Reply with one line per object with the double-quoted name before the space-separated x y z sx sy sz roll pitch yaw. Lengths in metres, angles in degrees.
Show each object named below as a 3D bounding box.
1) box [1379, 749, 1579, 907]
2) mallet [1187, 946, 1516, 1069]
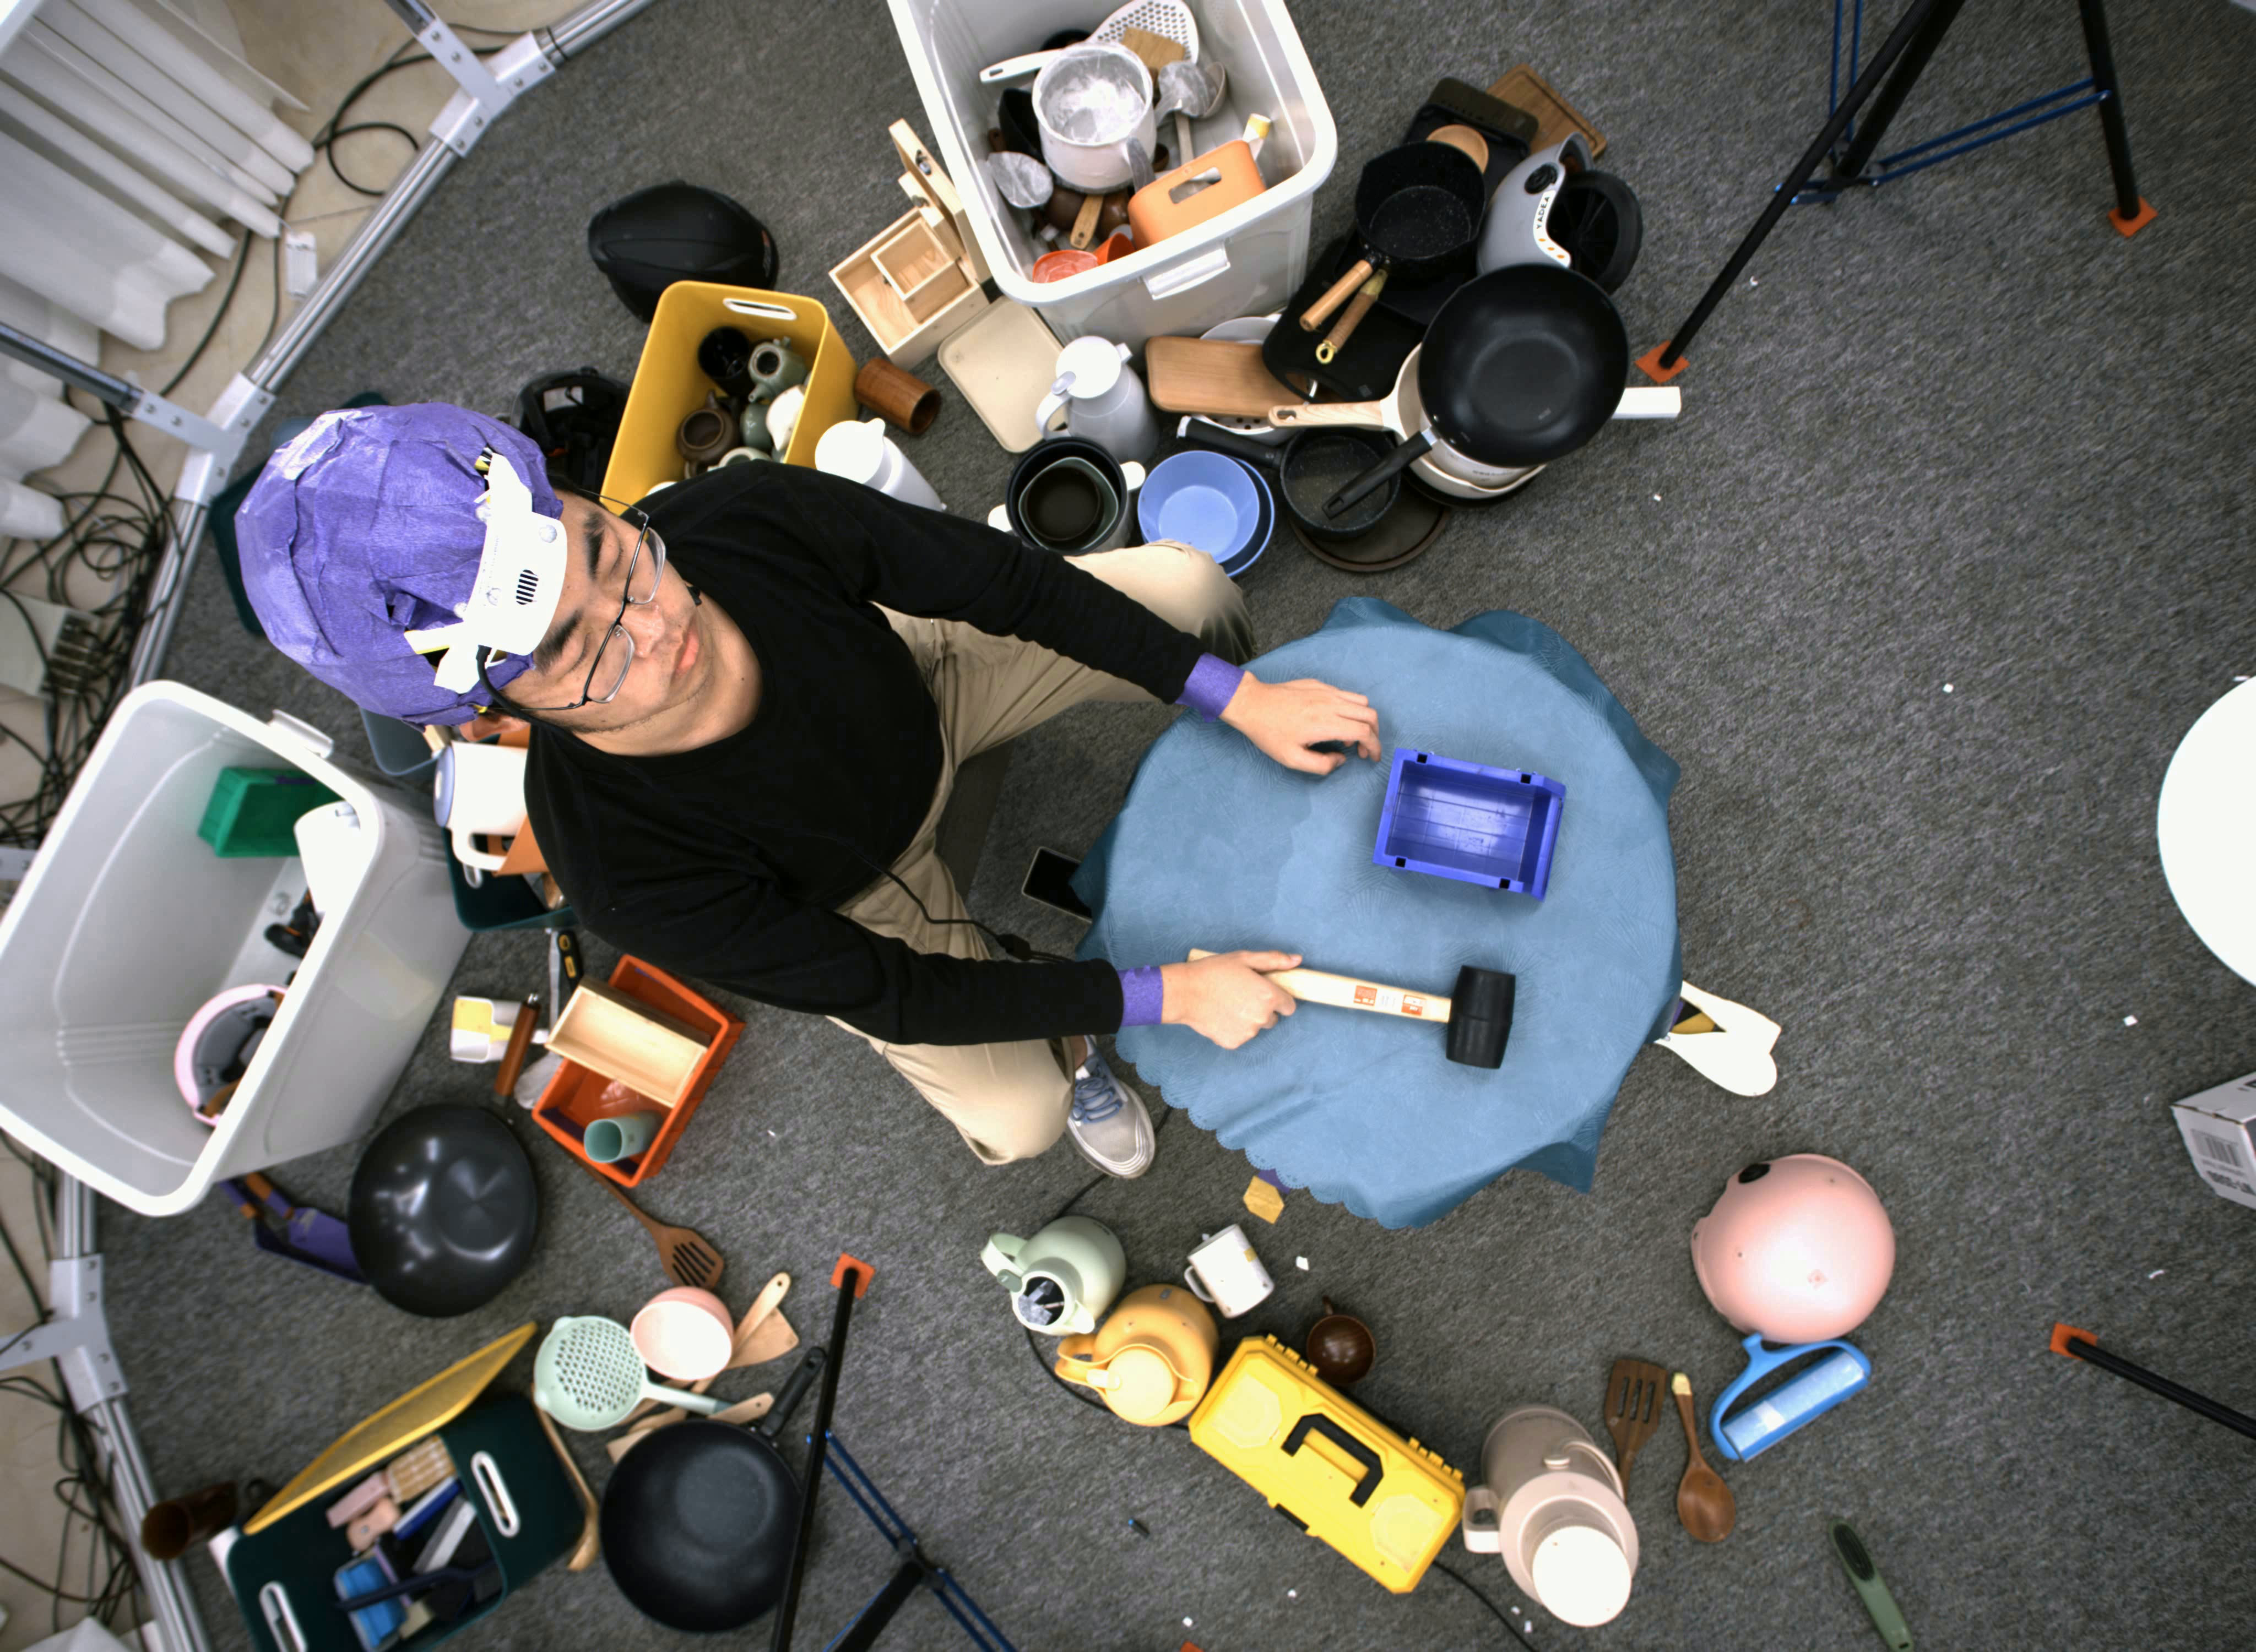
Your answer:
"box" 0.360 -0.001 1.406 0.179 0.082 0.124 13 89 14
"mallet" 0.226 0.170 1.434 0.340 0.064 0.101 10 87 12
